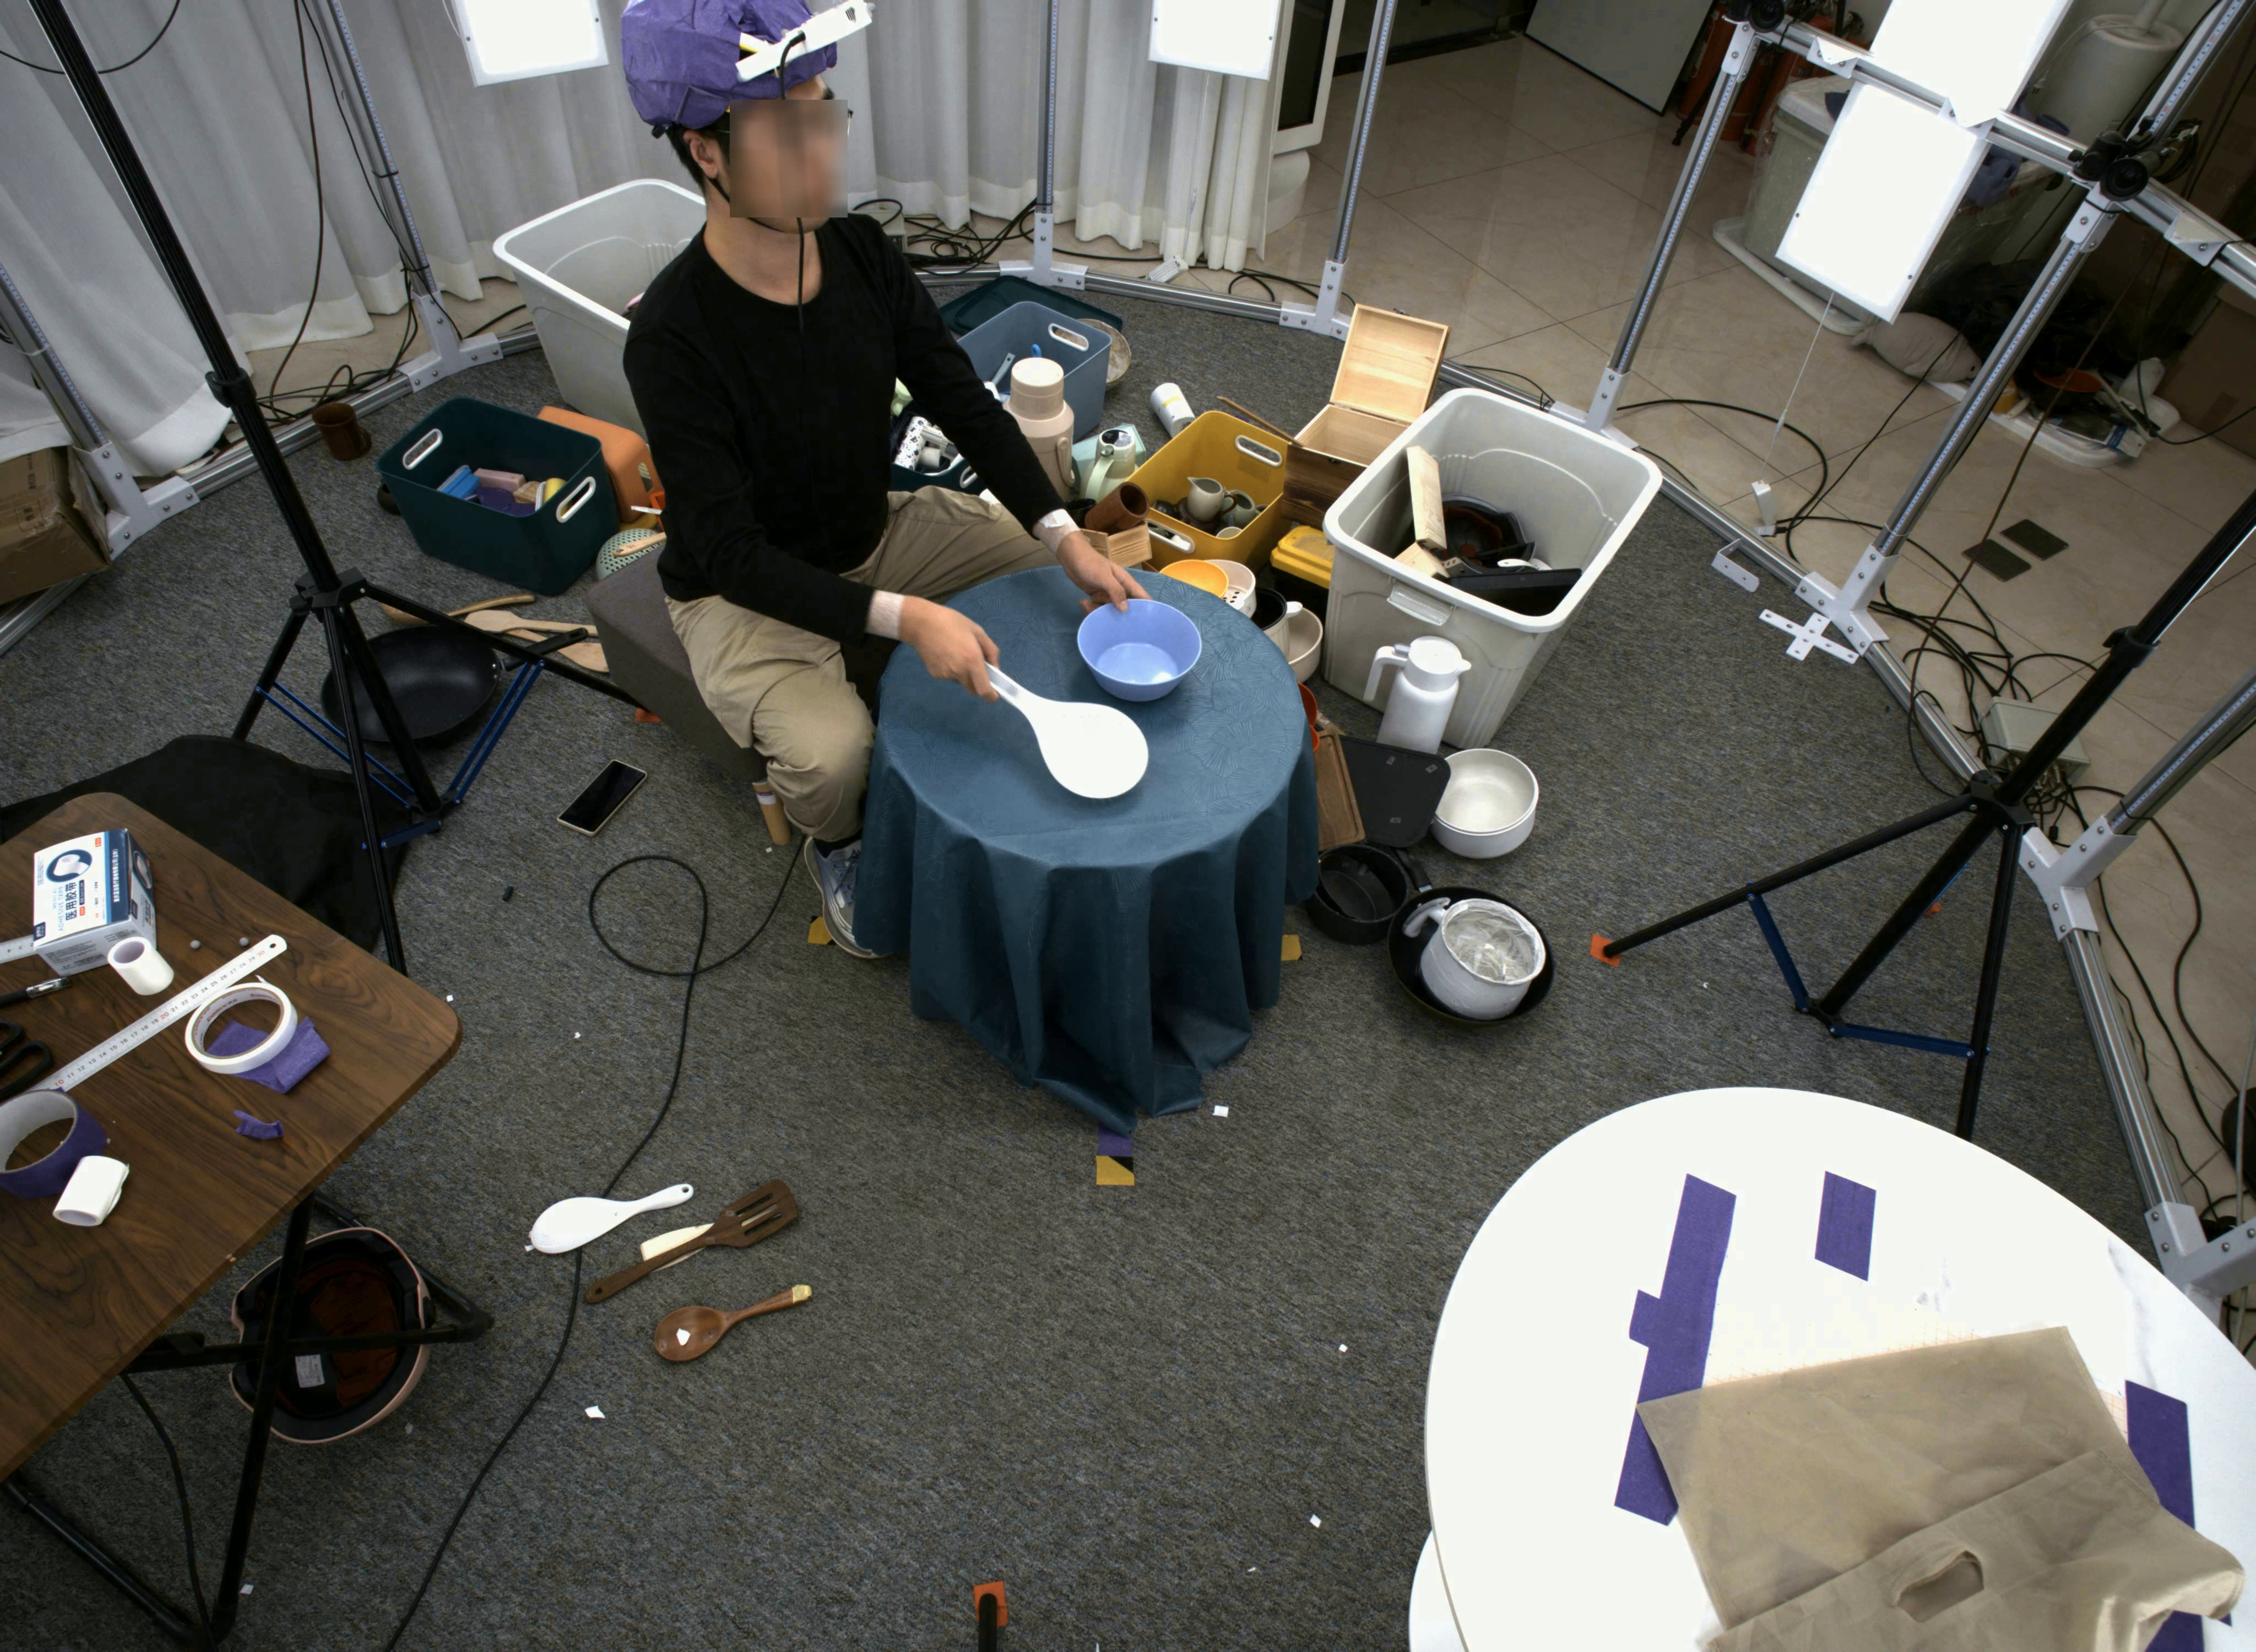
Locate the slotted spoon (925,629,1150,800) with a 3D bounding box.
[{"bbox_3d":[-0.126,-0.156,1.716,0.350,0.045,0.138,37,64,4],"label":"slotted spoon"}]

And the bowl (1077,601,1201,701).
[{"bbox_3d":[0.014,-0.242,1.836,0.176,0.068,0.180,1,48,-2],"label":"bowl"}]
